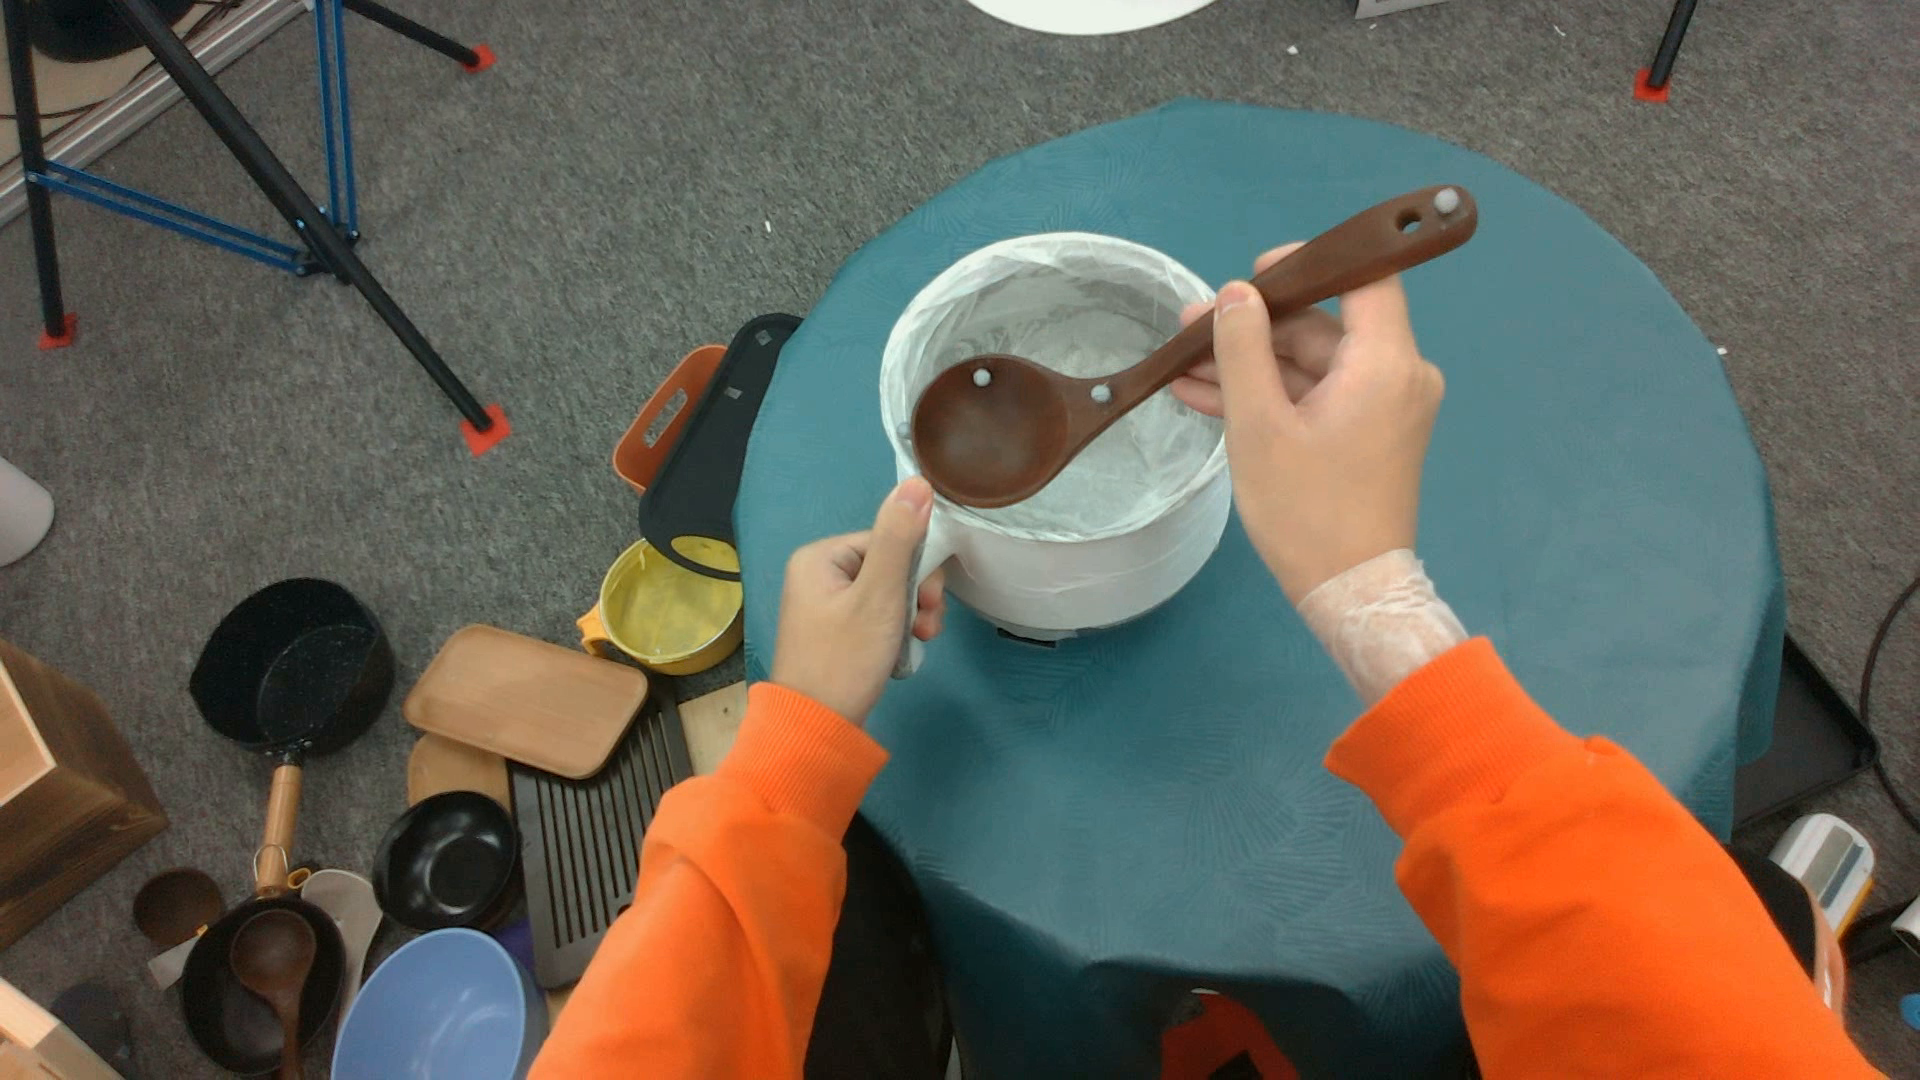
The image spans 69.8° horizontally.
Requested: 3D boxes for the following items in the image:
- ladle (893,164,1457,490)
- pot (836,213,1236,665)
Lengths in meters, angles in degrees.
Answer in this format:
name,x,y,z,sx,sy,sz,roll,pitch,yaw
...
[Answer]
name,x,y,z,sx,sy,sz,roll,pitch,yaw
ladle,0.075,-0.089,0.568,0.259,0.065,0.076,-25,72,42
pot,0.027,-0.038,0.698,0.179,0.136,0.234,38,71,21
